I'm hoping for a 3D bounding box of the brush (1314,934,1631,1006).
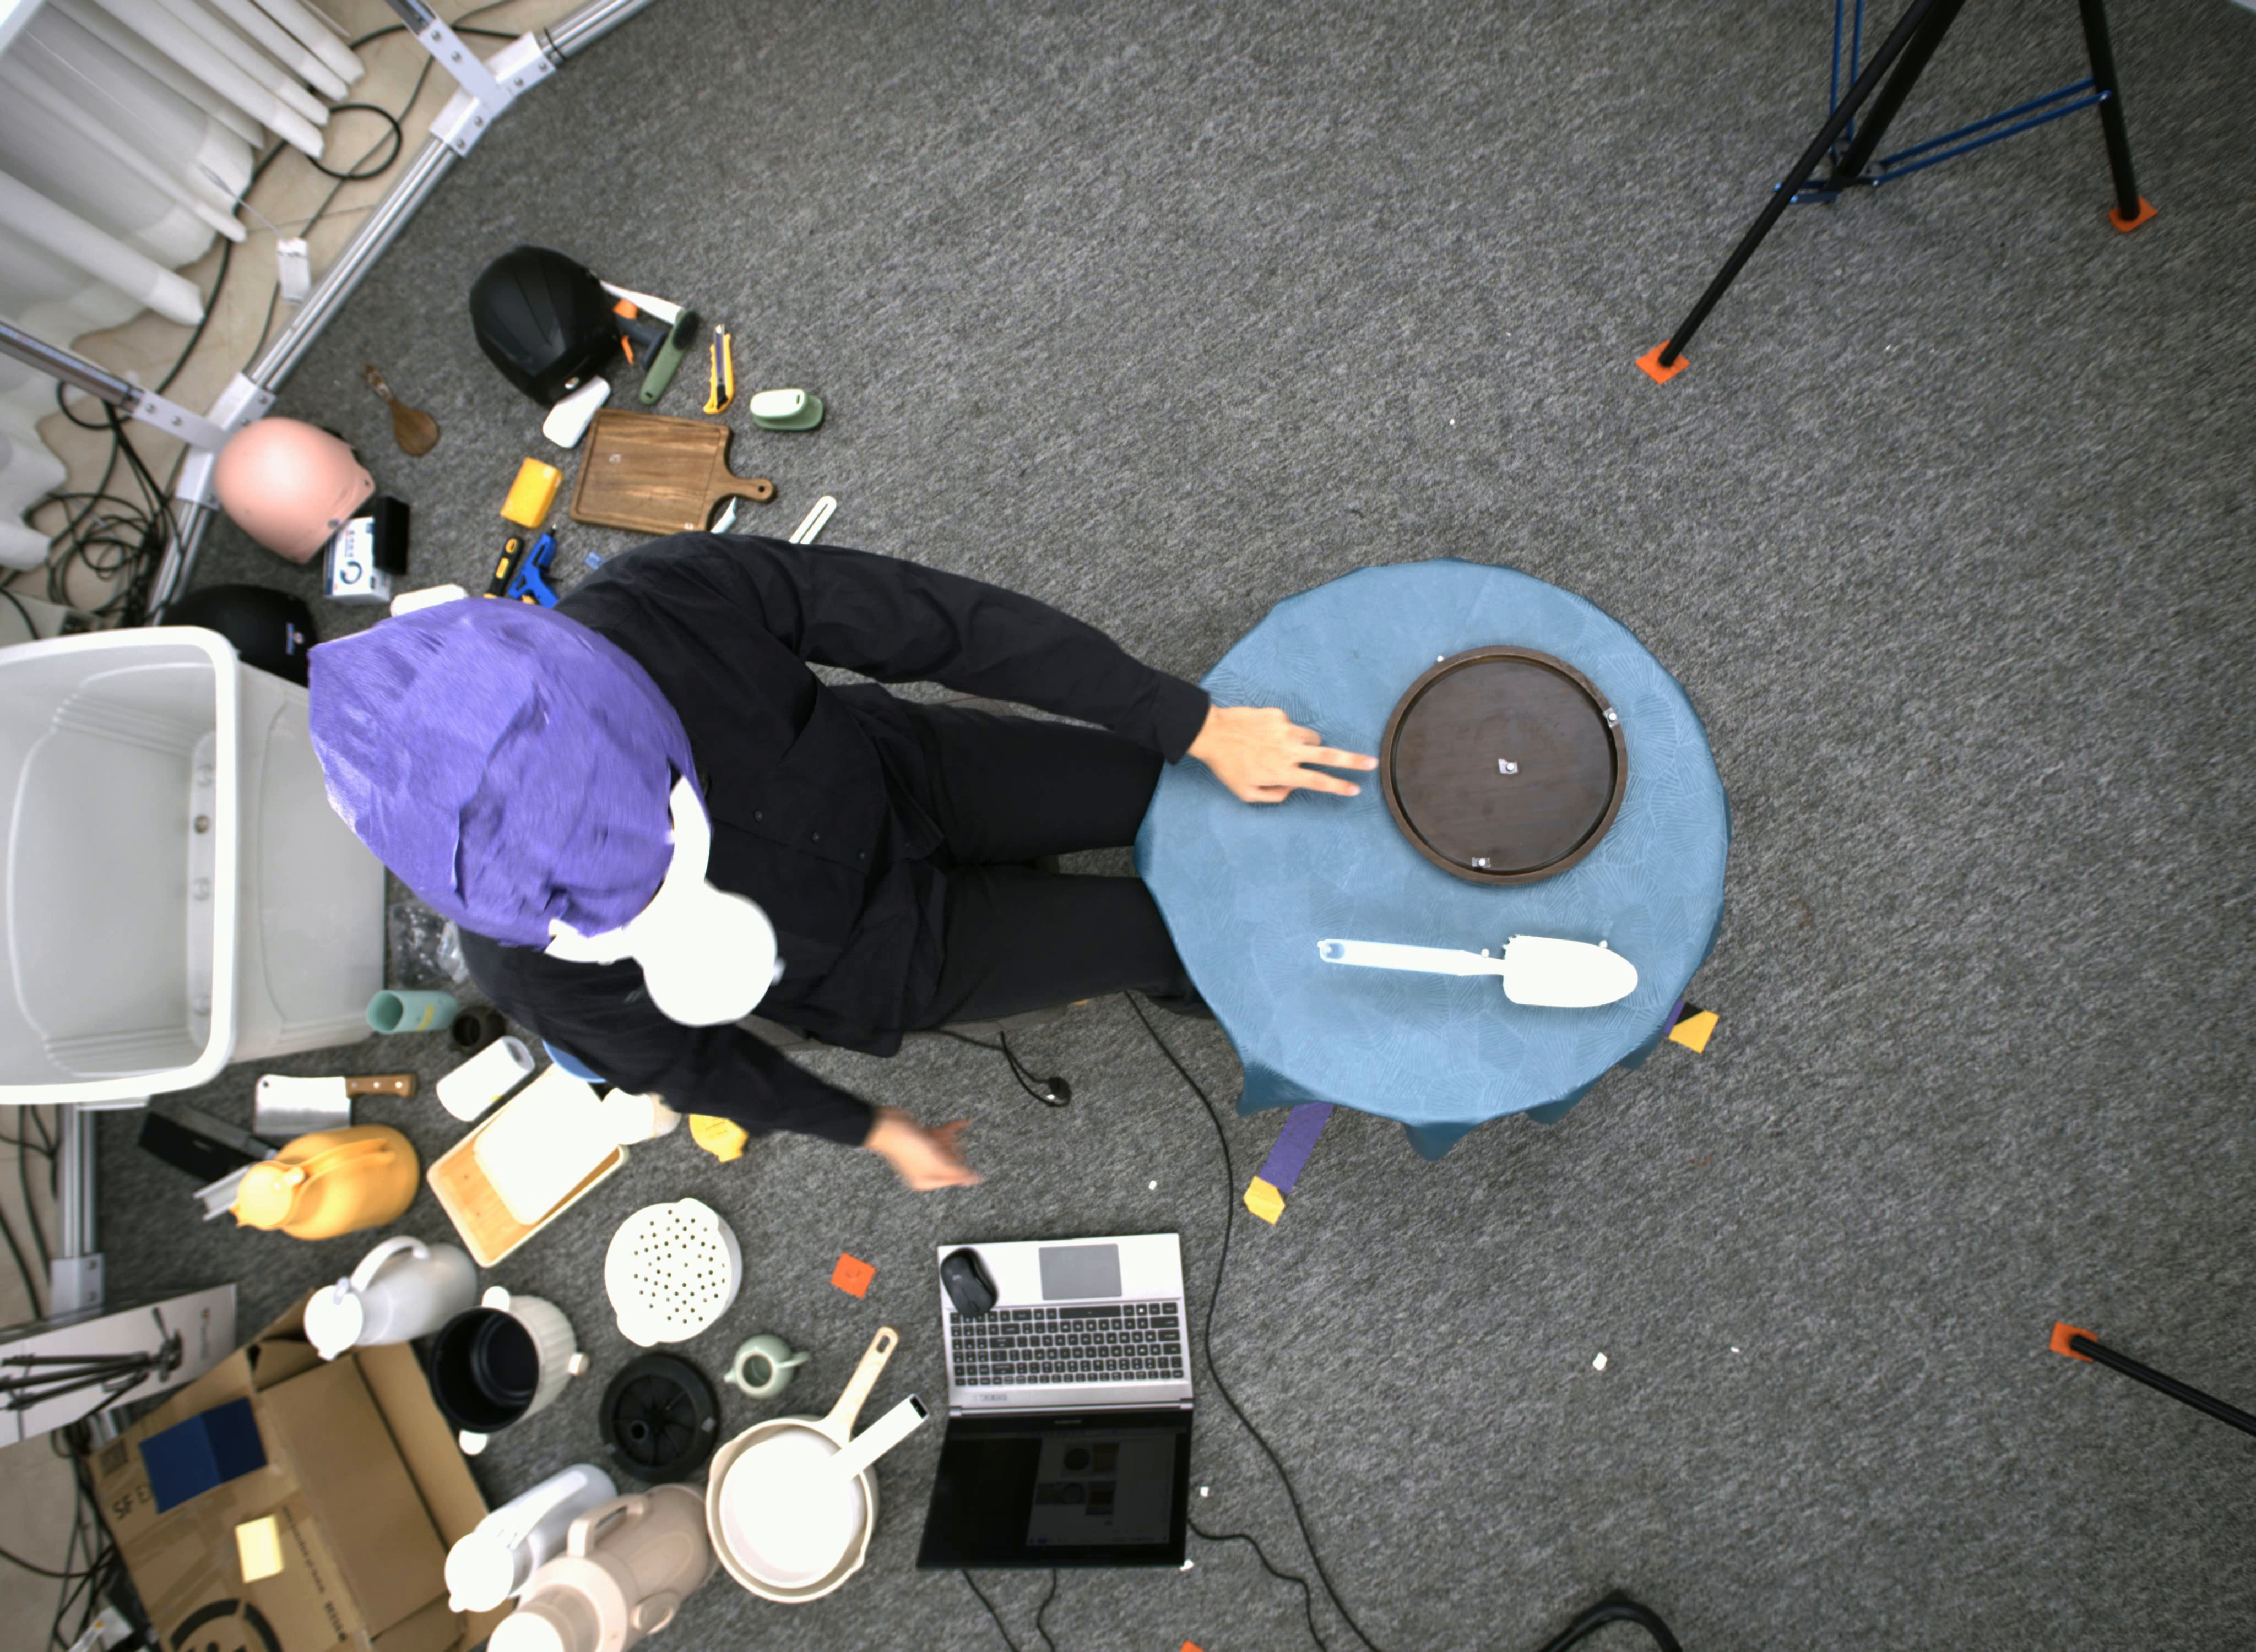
[{"bbox_3d":[0.345,0.134,1.400,0.326,0.087,0.081,6,49,-1],"label":"brush"}]

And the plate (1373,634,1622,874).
[{"bbox_3d":[0.384,-0.078,1.432,0.256,0.029,0.254,0,89,9],"label":"plate"}]
